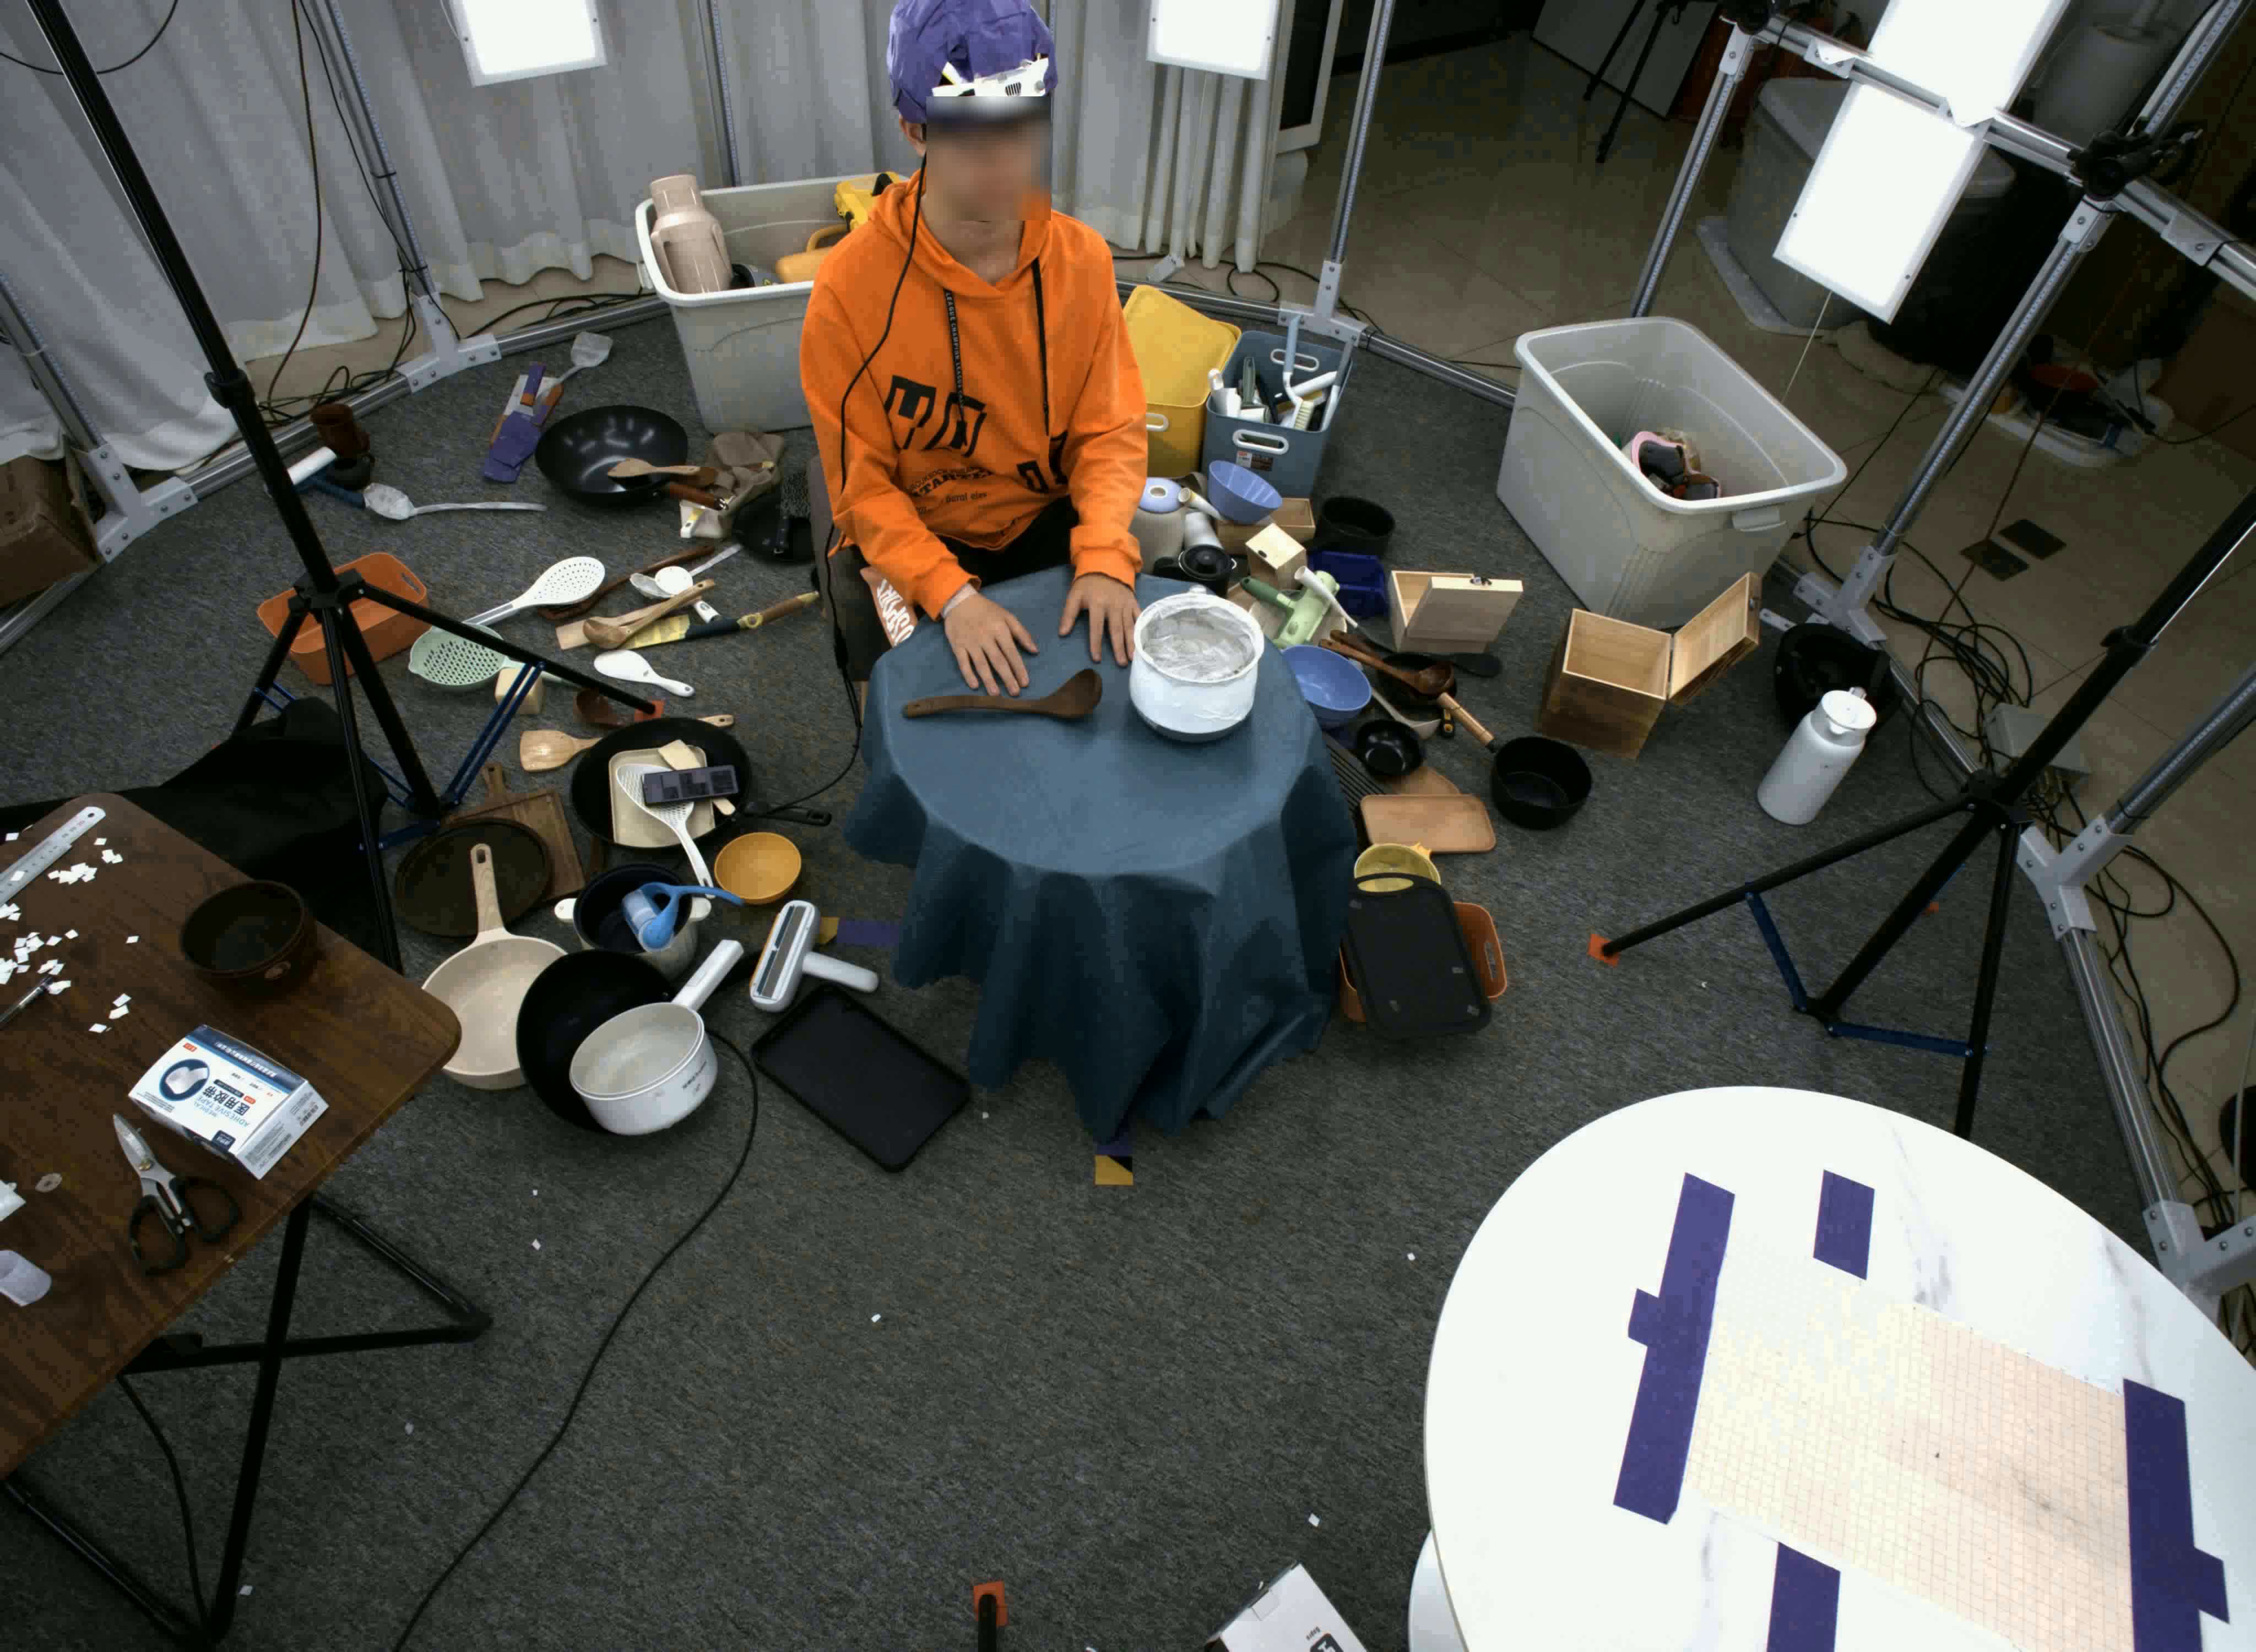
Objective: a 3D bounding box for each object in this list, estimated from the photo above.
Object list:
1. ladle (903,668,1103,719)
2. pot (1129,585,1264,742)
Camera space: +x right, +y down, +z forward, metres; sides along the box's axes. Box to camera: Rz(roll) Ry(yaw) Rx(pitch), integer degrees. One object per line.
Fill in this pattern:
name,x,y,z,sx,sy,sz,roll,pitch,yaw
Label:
ladle,-0.172,-0.182,1.770,0.274,0.069,0.078,0,46,-5
pot,0.092,-0.236,1.791,0.178,0.133,0.239,3,49,-2
